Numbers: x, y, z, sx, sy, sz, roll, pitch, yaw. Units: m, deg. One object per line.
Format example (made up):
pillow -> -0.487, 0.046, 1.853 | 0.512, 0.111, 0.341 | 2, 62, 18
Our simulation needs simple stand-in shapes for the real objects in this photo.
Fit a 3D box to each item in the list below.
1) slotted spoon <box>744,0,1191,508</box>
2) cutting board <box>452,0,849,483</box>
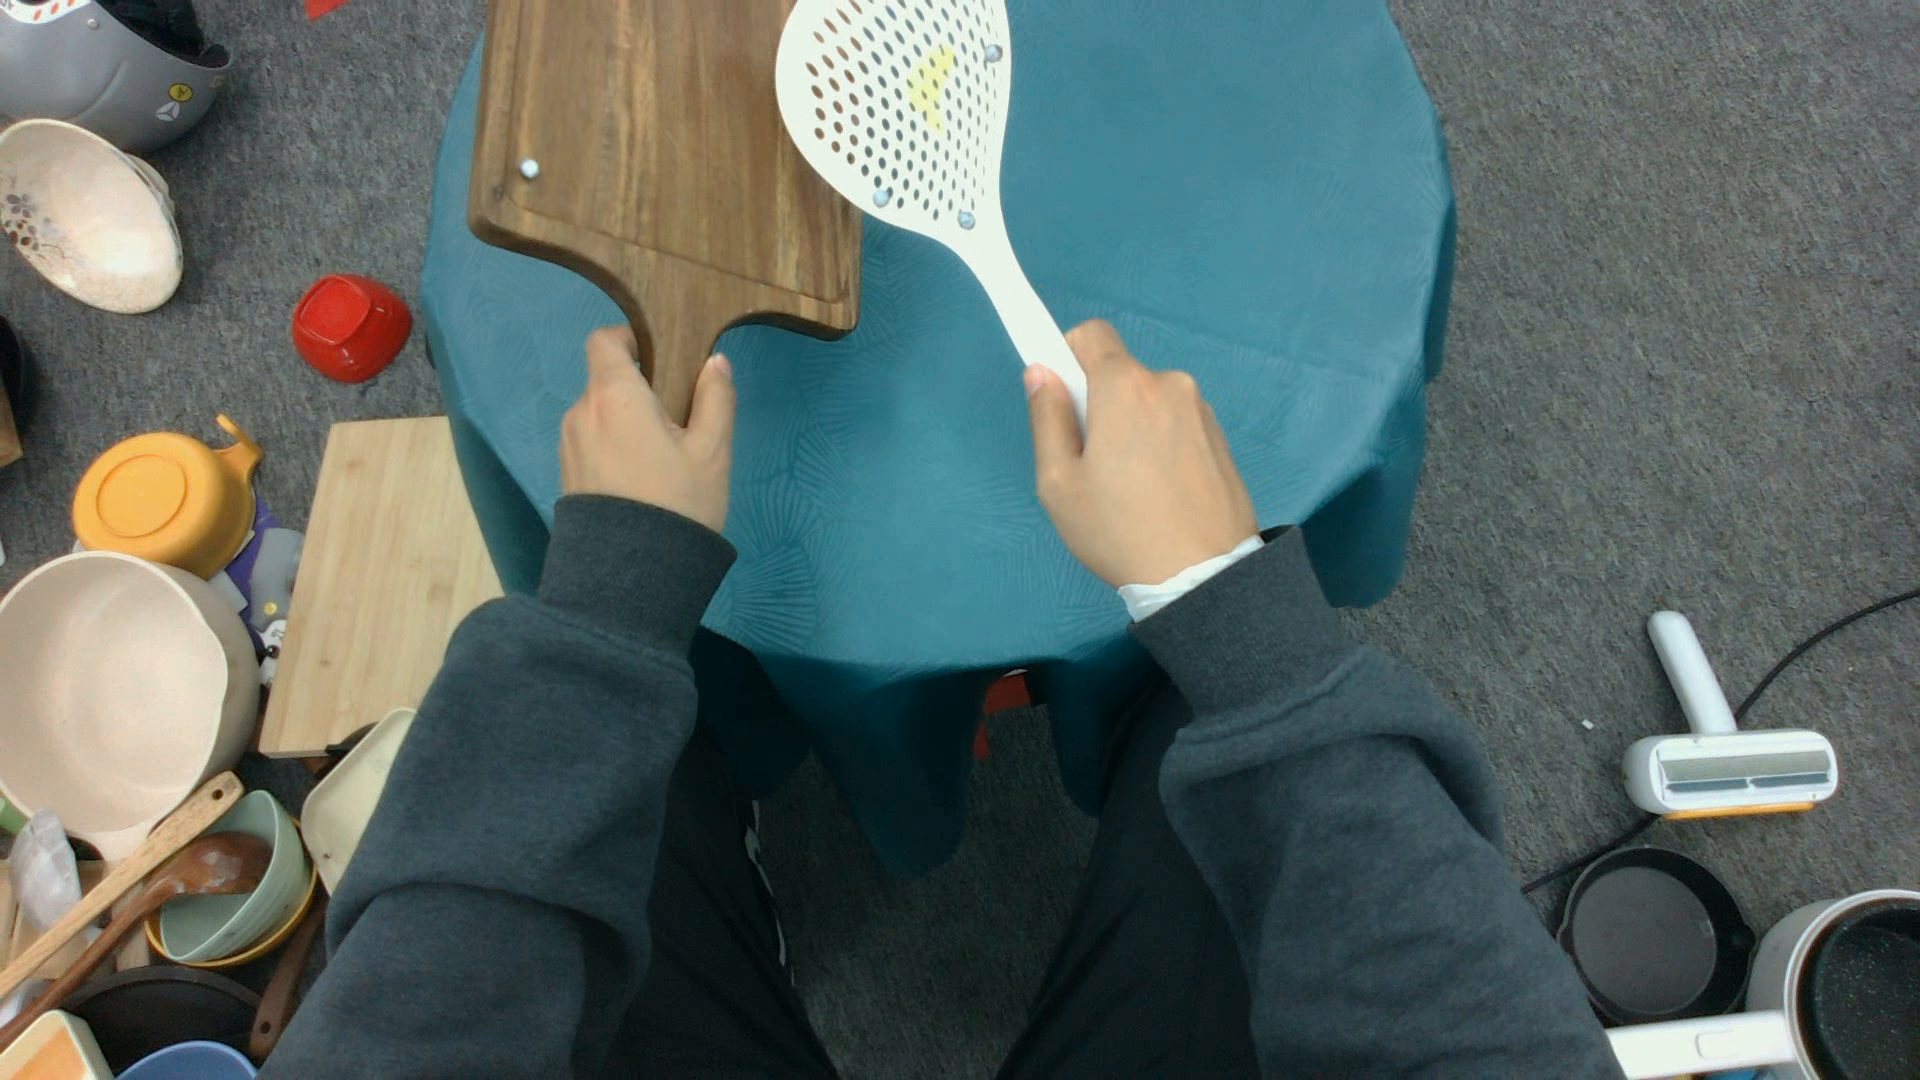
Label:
slotted spoon -> 0.004, -0.155, 0.633 | 0.136, 0.050, 0.348 | -40, 62, 27
cutting board -> -0.143, -0.199, 0.677 | 0.201, 0.023, 0.353 | 10, 71, -35
